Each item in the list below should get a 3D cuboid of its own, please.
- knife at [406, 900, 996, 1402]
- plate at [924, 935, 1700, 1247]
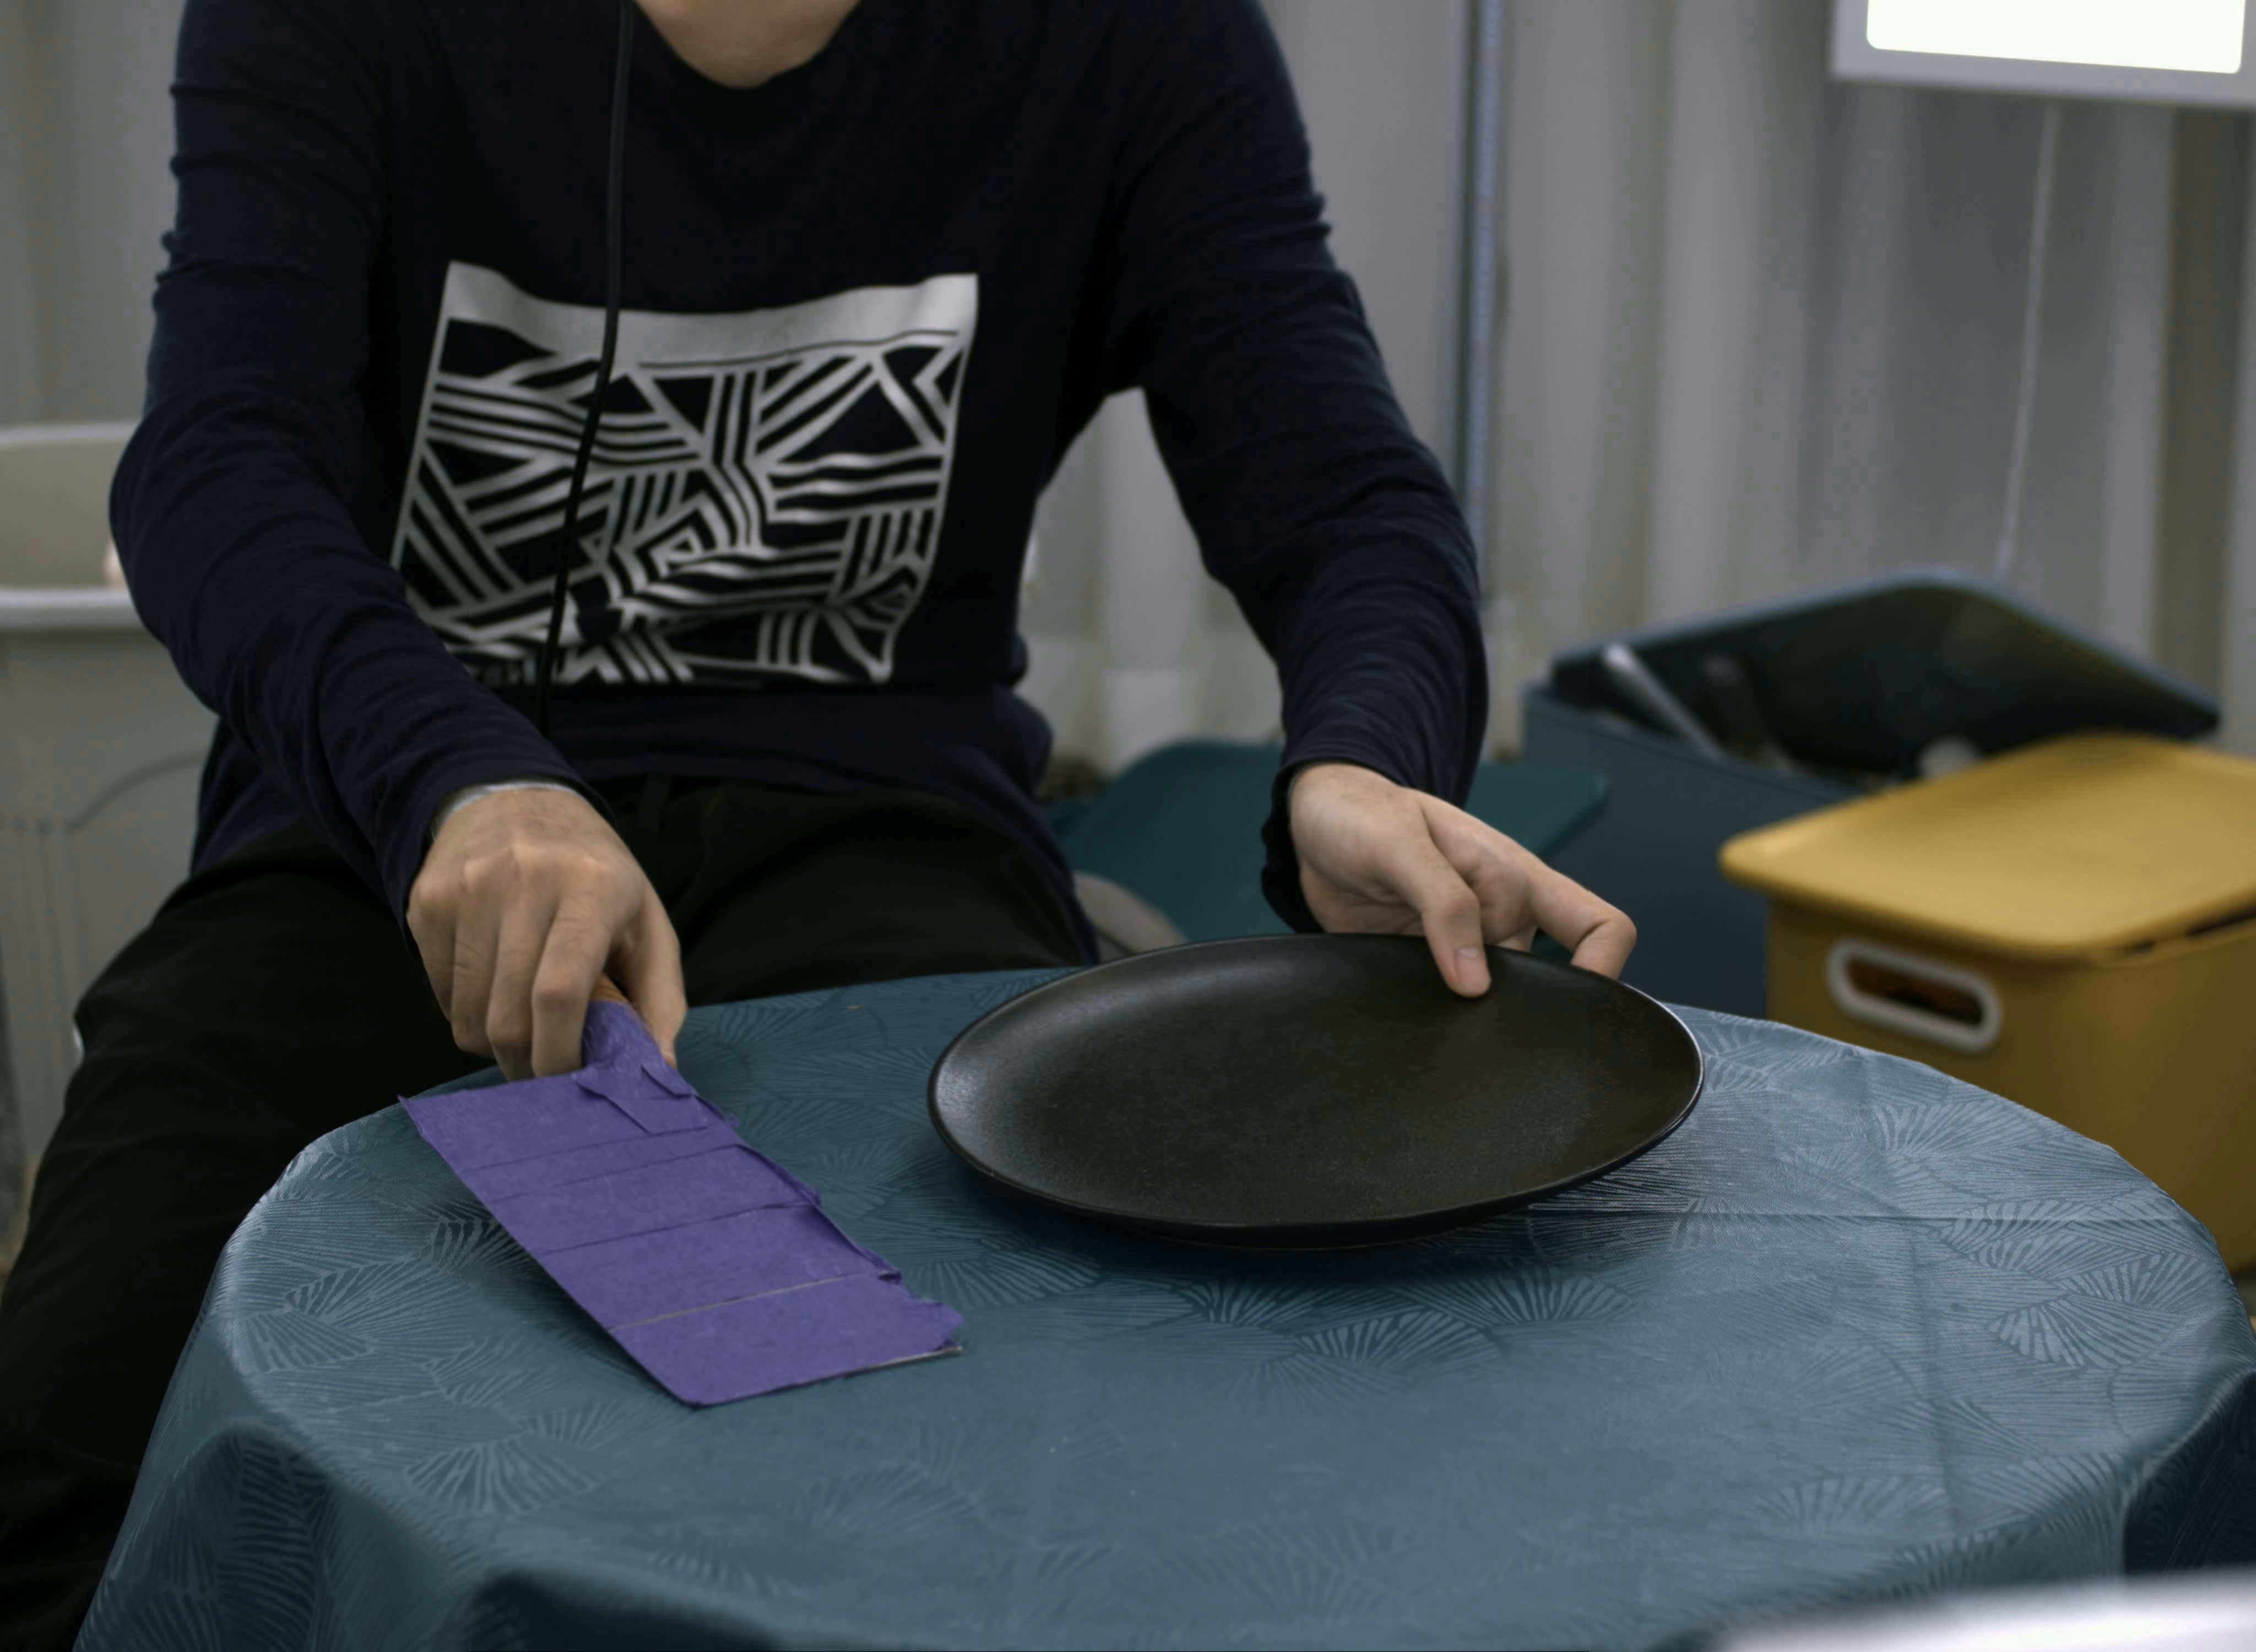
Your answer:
[{"bbox_3d":[-0.158,0.093,1.583,0.104,0.032,0.311,-8,24,-30],"label":"knife"},{"bbox_3d":[0.058,0.086,1.652,0.243,0.023,0.243,-2,19,1],"label":"plate"}]
